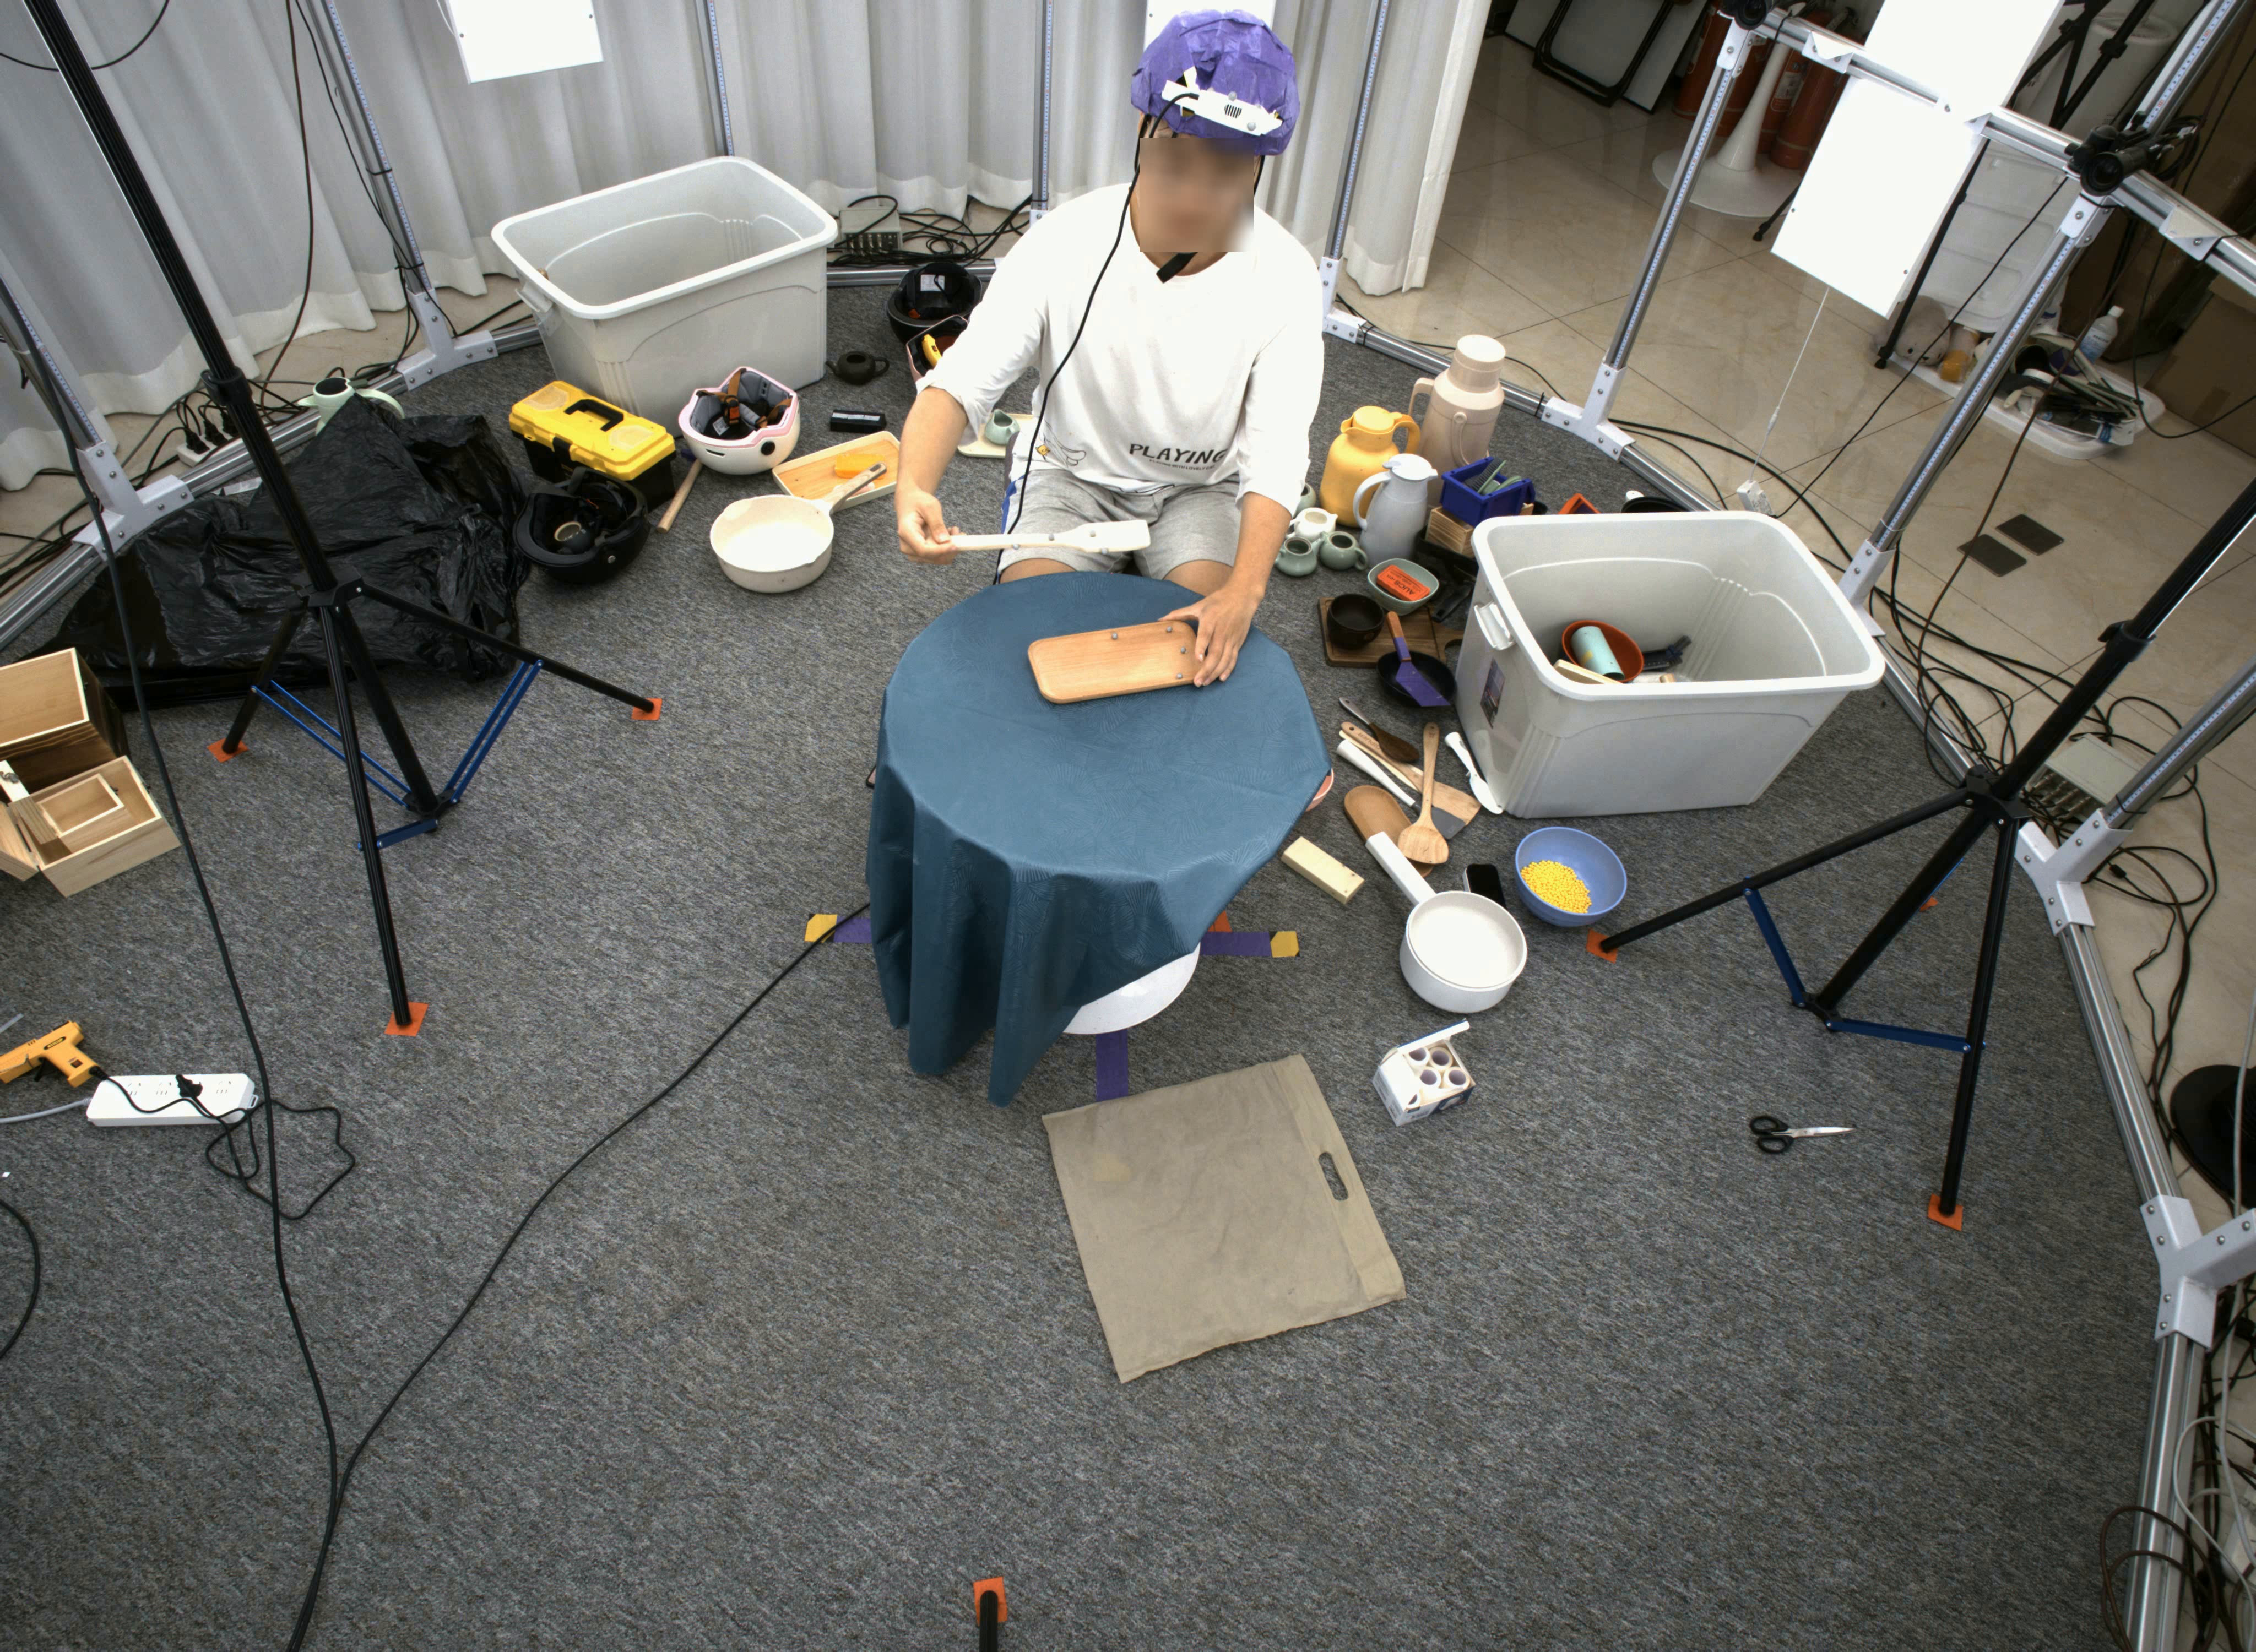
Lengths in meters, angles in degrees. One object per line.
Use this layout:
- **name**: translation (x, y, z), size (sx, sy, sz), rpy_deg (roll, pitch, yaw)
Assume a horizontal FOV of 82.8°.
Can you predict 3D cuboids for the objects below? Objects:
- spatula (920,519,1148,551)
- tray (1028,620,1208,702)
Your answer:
- **spatula**: translation (-0.121, -0.371, 1.666), size (0.293, 0.010, 0.074), rpy_deg (-3, 40, -3)
- **tray**: translation (-0.015, -0.239, 1.861), size (0.250, 0.022, 0.134), rpy_deg (-9, 48, -11)
